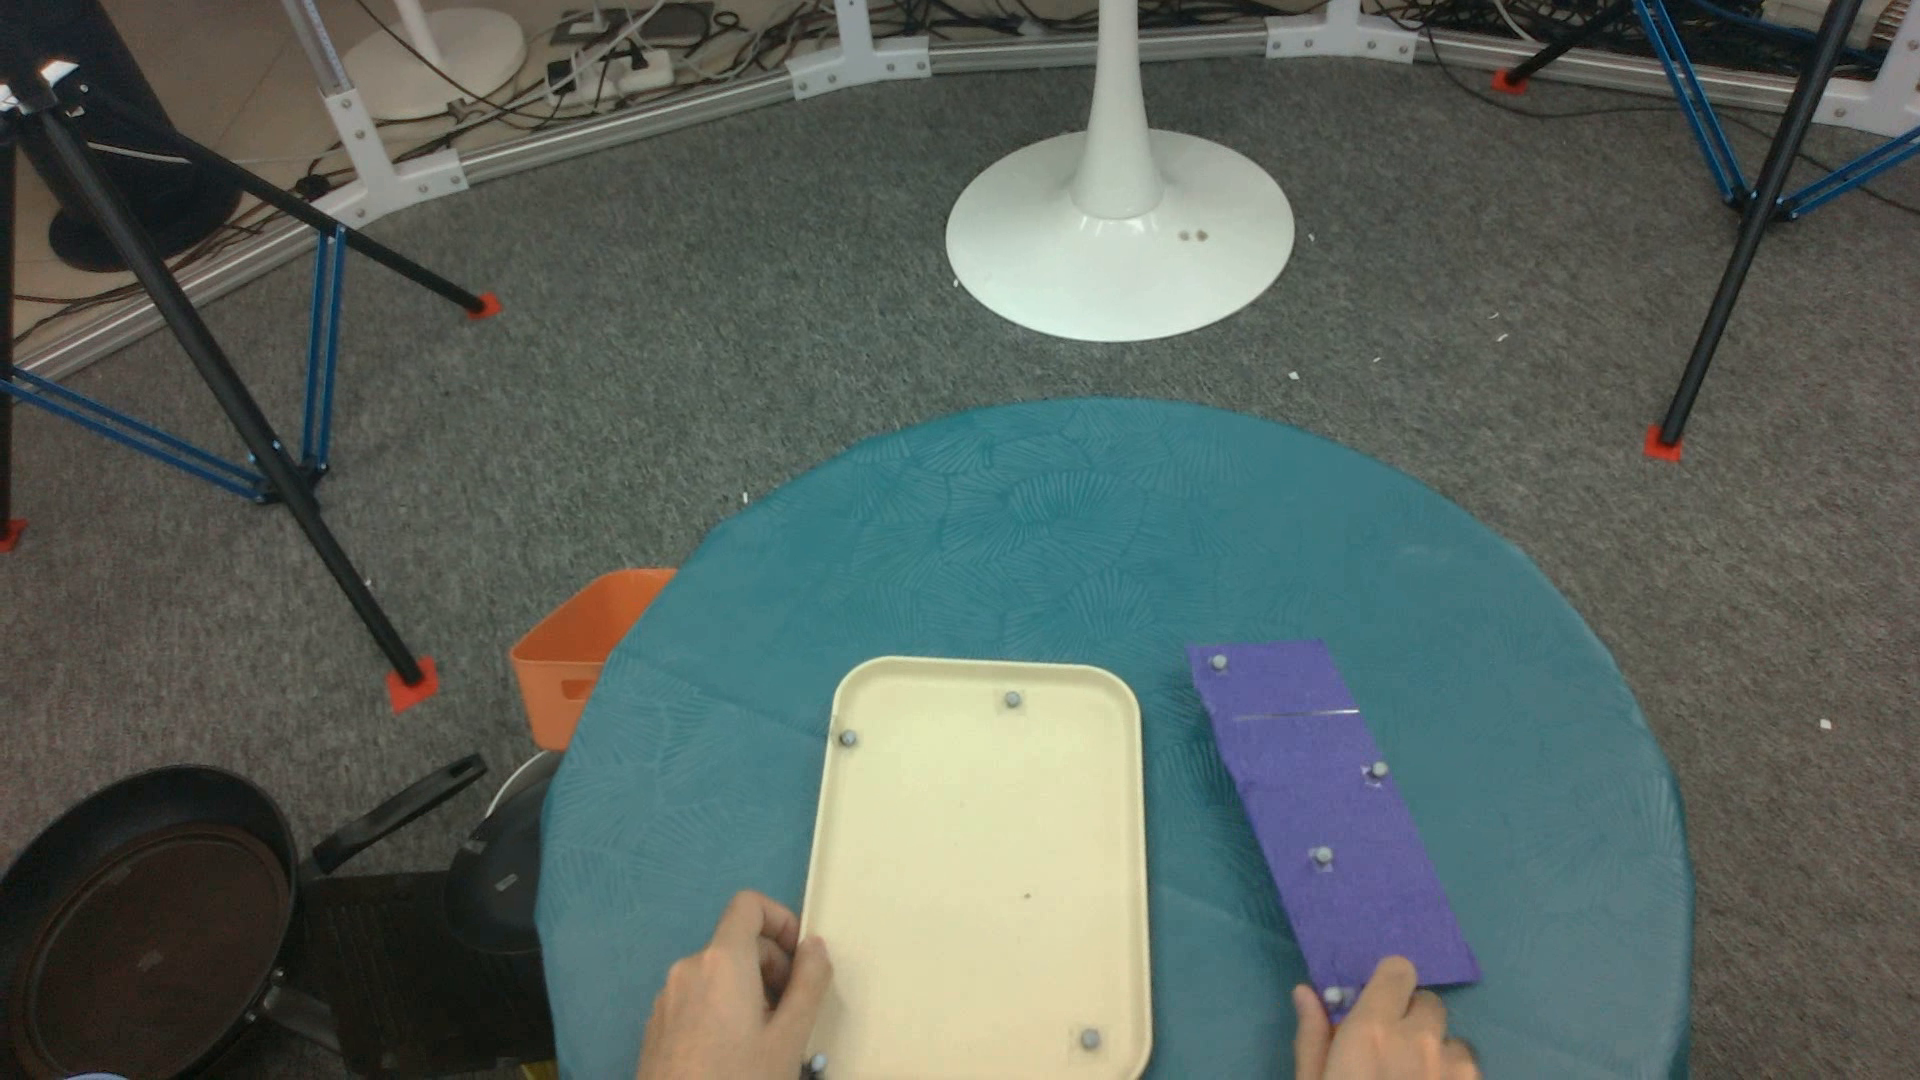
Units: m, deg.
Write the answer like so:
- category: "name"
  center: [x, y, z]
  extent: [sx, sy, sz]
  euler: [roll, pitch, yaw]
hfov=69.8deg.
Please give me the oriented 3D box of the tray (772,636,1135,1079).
- category: "tray"
  center: [0.001, 0.153, 0.703]
  extent: [0.171, 0.017, 0.241]
  euler: [4, 50, 0]

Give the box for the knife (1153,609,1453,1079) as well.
- category: "knife"
  center: [0.186, 0.157, 0.676]
  extent: [0.104, 0.032, 0.316]
  euler: [1, 49, -18]
